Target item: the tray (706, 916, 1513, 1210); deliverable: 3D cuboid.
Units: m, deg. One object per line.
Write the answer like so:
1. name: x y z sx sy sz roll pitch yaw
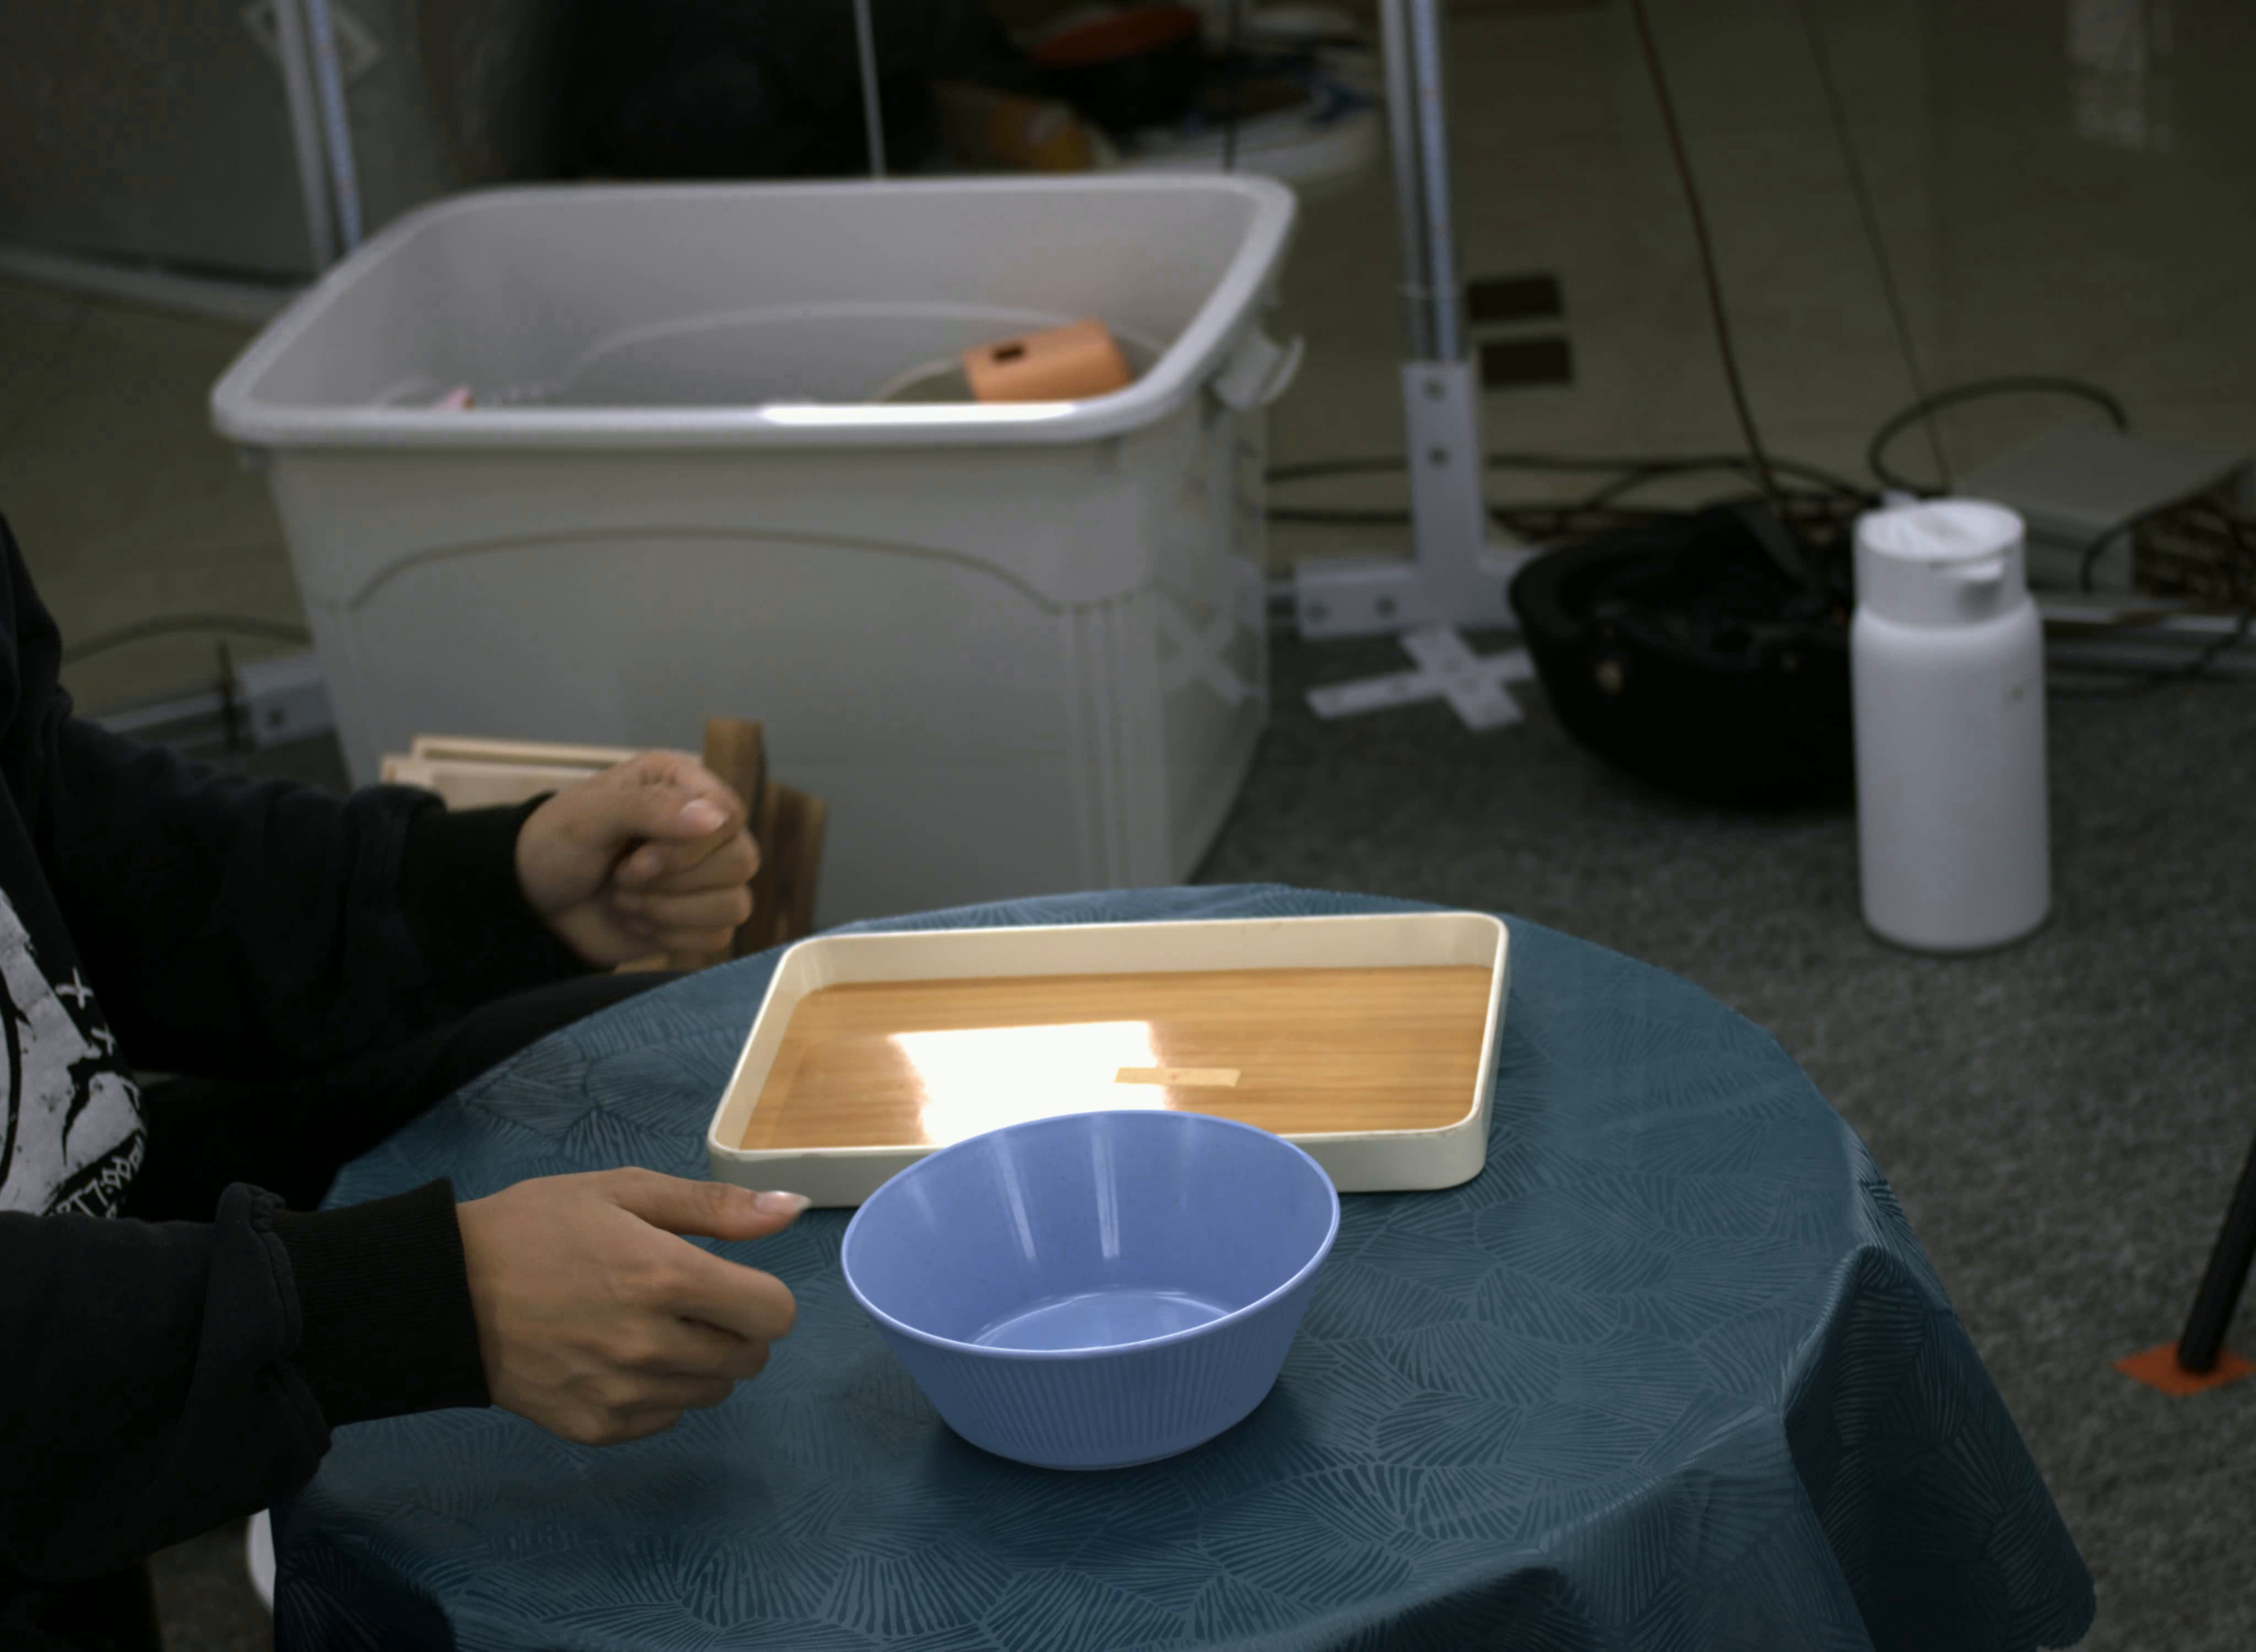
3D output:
1. tray: -0.004 0.092 2.224 0.300 0.028 0.189 -2 25 9

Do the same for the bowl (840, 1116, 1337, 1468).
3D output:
1. bowl: -0.012 0.170 2.003 0.176 0.071 0.173 -4 25 2
